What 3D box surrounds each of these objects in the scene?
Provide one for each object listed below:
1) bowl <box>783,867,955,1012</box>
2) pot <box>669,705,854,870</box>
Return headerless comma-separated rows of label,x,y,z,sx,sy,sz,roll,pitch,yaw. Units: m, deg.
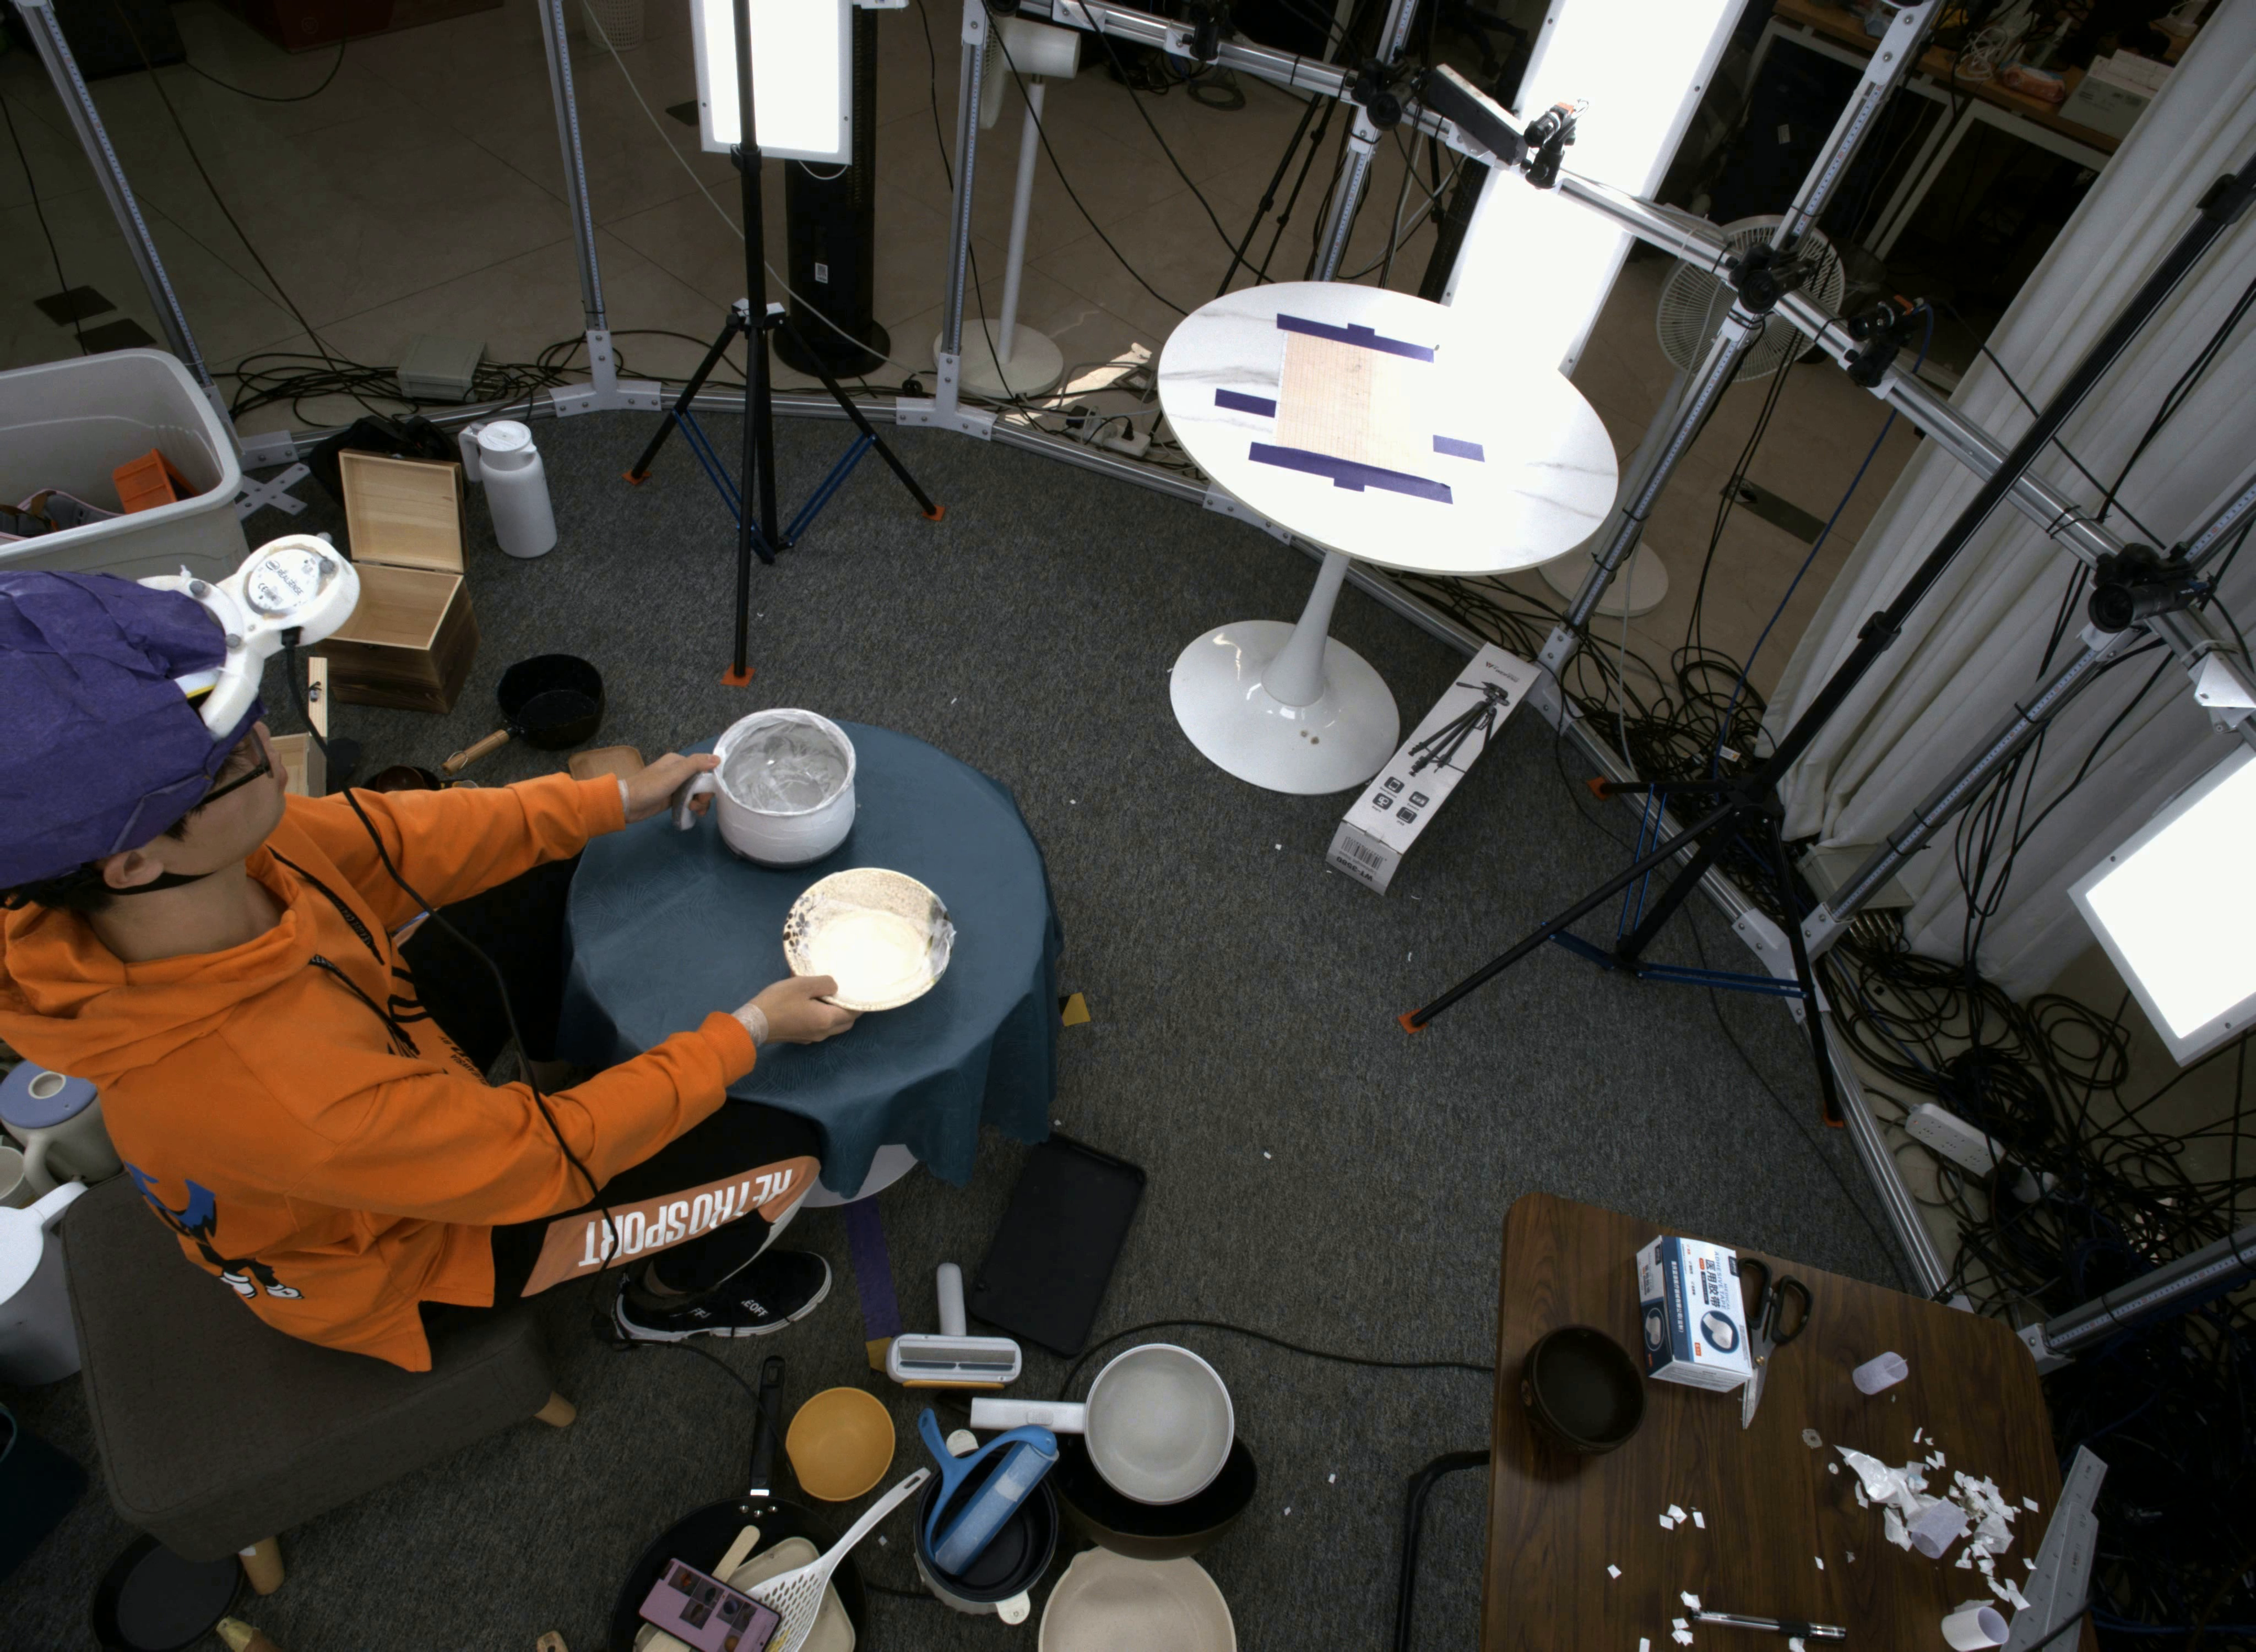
bowl,-0.313,0.152,1.581,0.203,0.079,0.200,7,54,-8
pot,-0.467,-0.043,1.645,0.234,0.139,0.174,-6,54,-18
